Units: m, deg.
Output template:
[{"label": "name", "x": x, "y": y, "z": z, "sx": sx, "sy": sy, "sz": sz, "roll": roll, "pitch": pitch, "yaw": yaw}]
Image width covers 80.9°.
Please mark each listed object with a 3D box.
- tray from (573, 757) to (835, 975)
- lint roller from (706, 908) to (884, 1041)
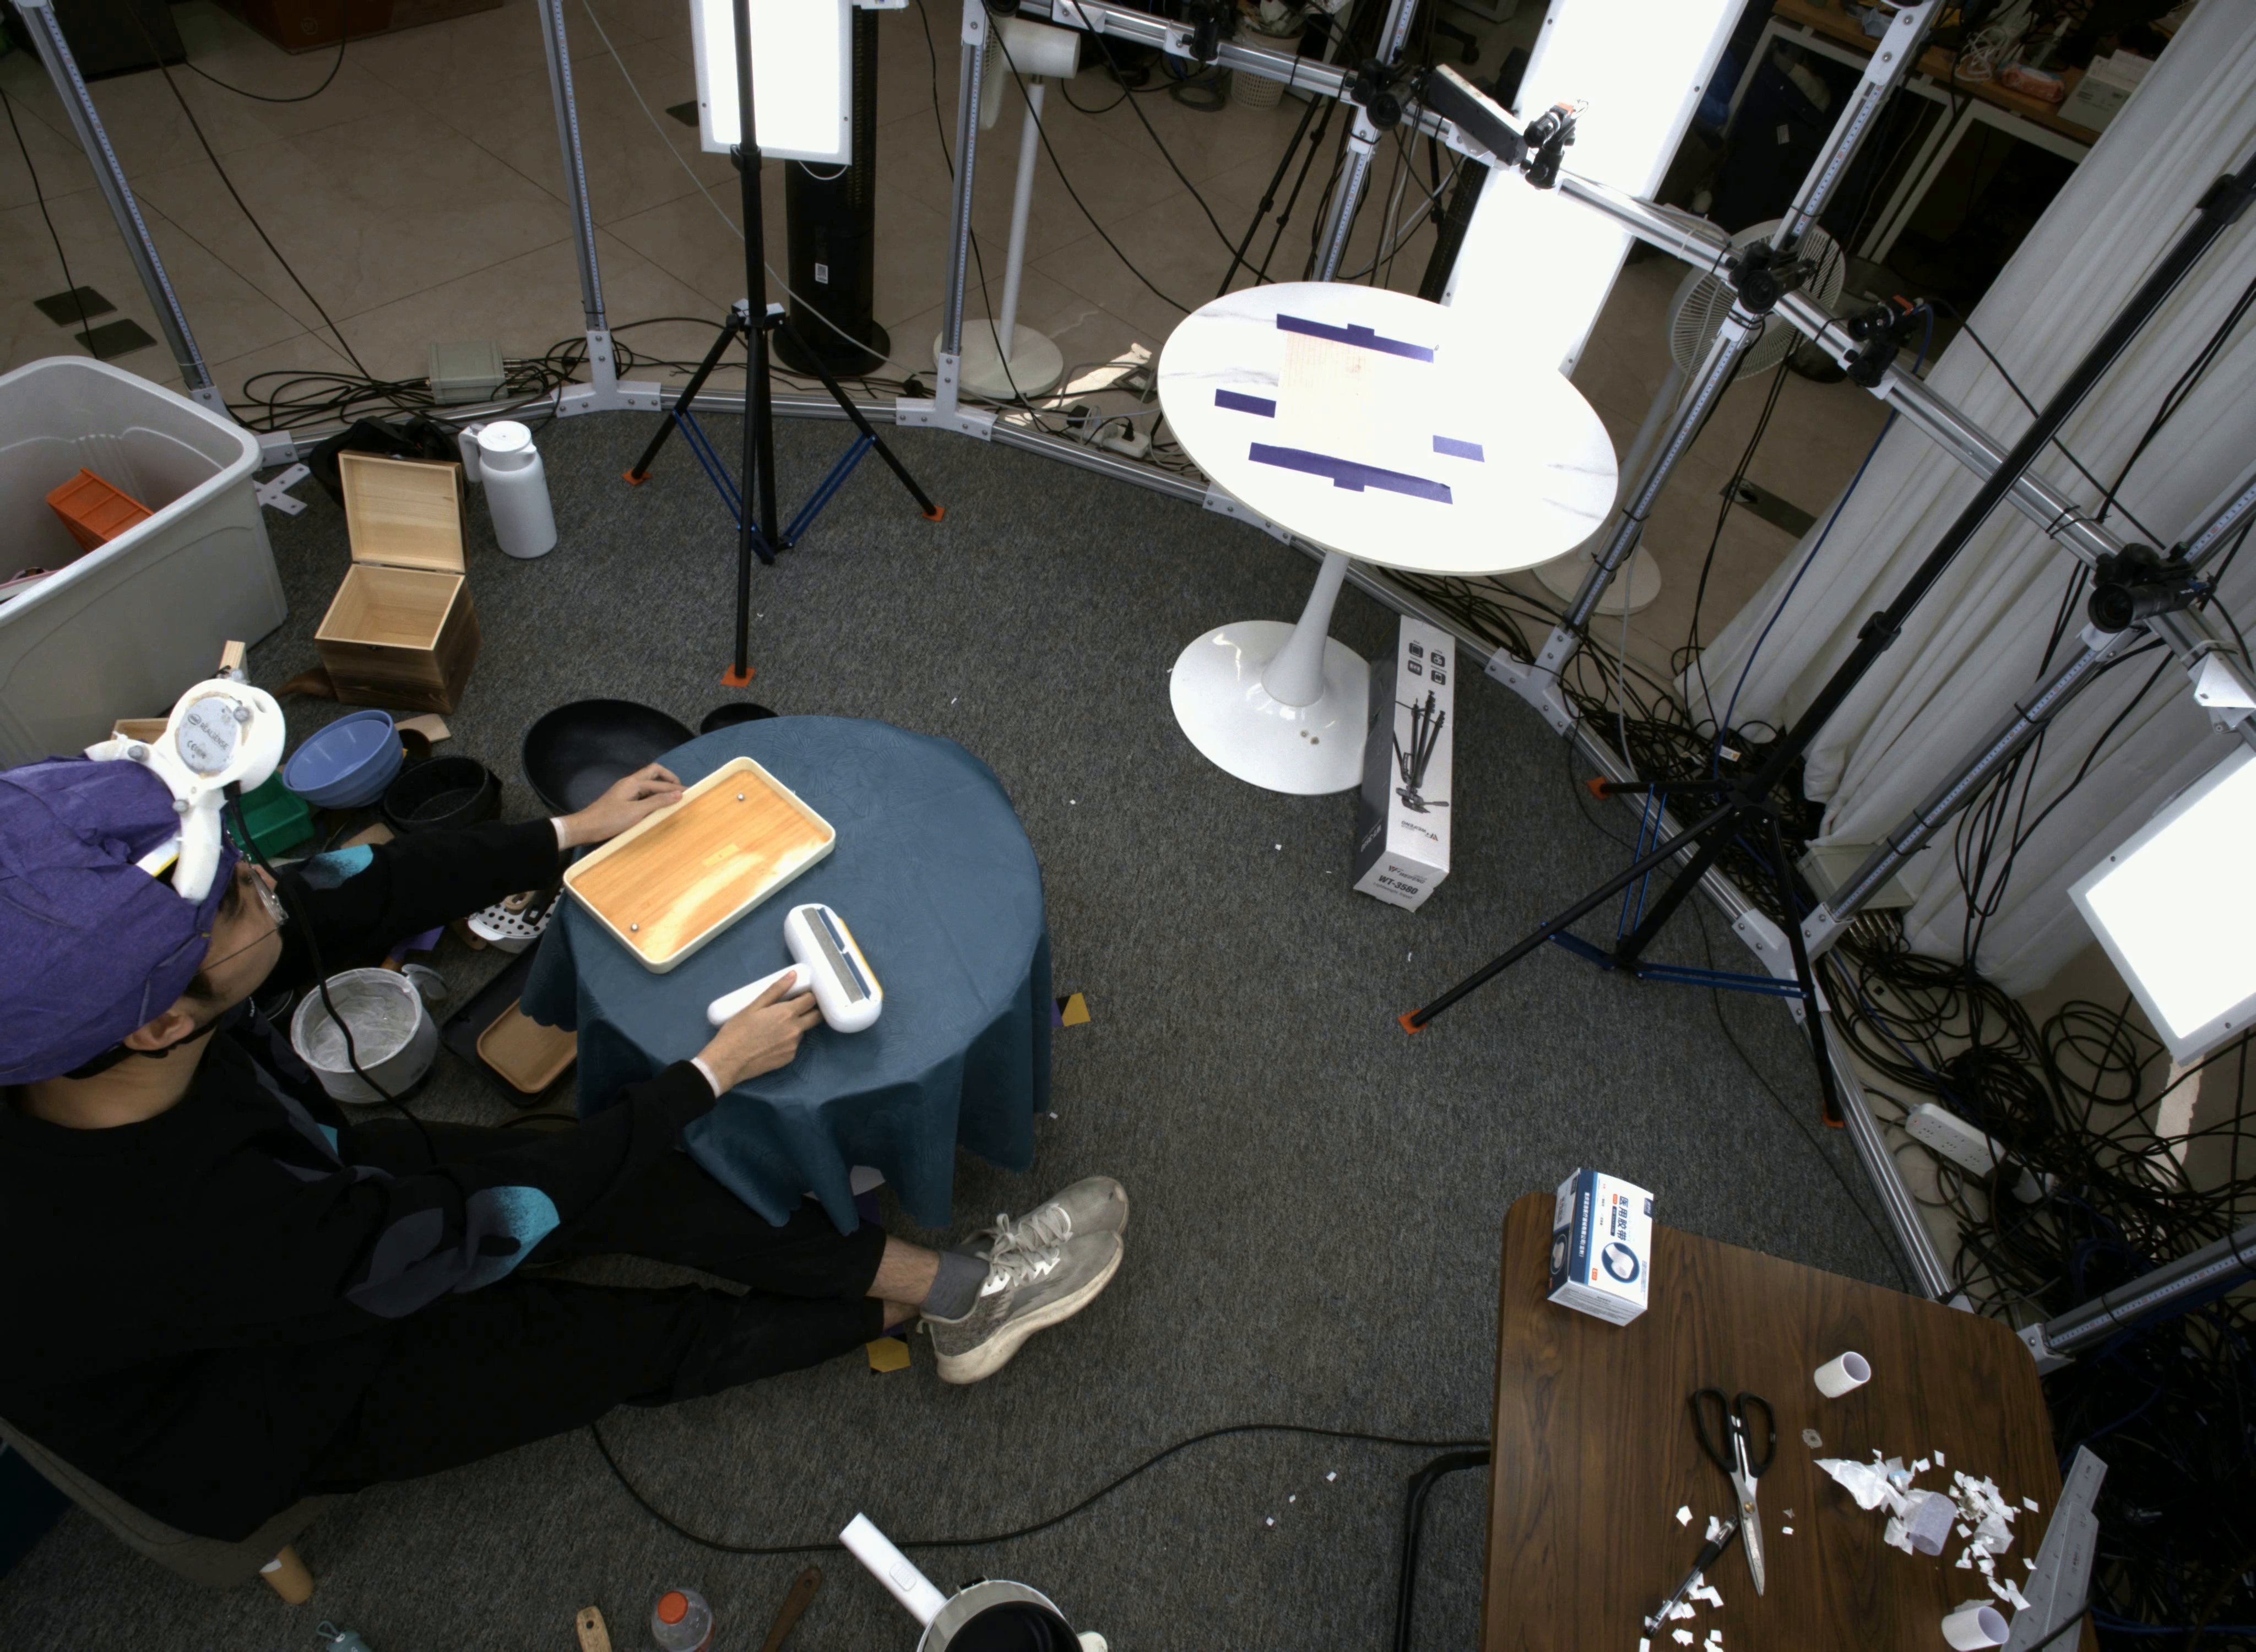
[{"label": "tray", "x": -0.542, "y": 0.042, "z": 1.650, "sx": 0.187, "sy": 0.028, "sz": 0.300, "roll": 38, "pitch": 54, "yaw": 15}, {"label": "lint roller", "x": -0.407, "y": 0.189, "z": 1.543, "sx": 0.194, "sy": 0.076, "sz": 0.187, "roll": -12, "pitch": 51, "yaw": -28}]
